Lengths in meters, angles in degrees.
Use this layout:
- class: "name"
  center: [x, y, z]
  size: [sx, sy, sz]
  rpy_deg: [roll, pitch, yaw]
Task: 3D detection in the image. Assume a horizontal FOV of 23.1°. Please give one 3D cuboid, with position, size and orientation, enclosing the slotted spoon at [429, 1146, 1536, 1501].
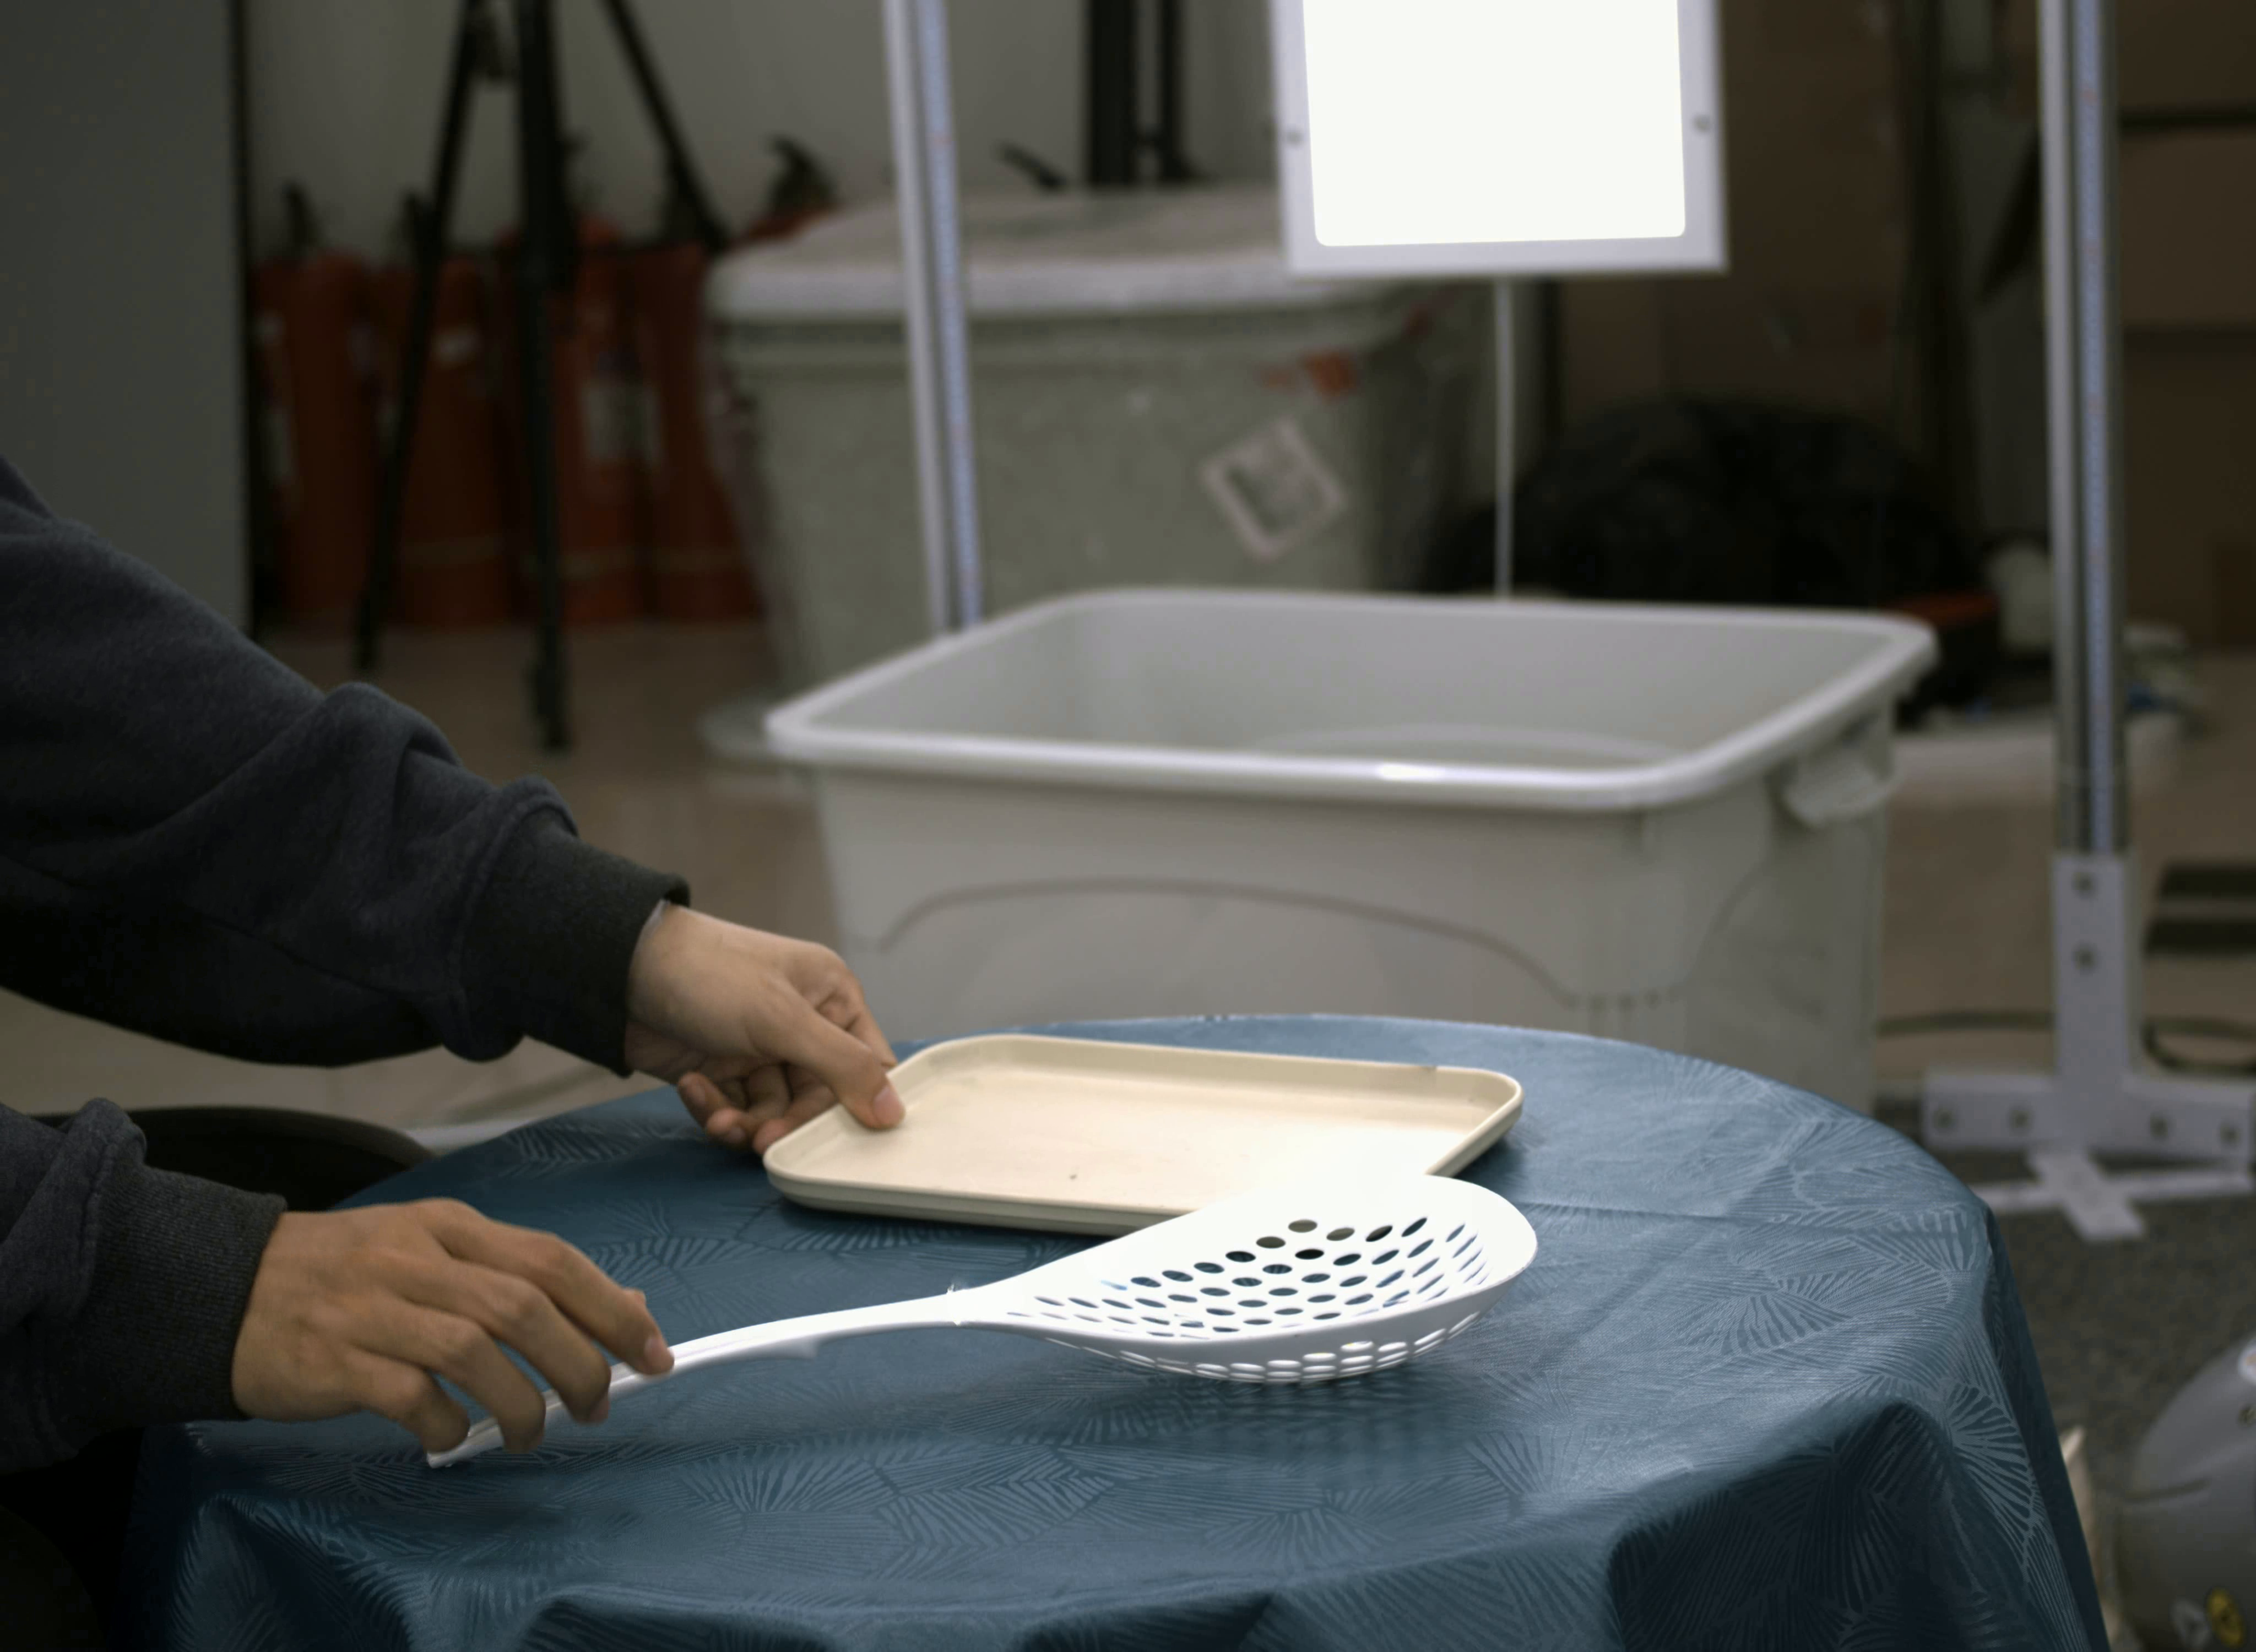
- class: "slotted spoon"
  center: [-0.045, 0.159, 1.698]
  size: [0.345, 0.050, 0.137]
  rpy_deg: [-7, 17, -4]

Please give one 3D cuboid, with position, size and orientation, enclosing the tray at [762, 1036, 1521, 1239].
- class: "tray"
  center: [0.006, 0.110, 1.921]
  size: [0.244, 0.017, 0.167]
  rpy_deg: [3, 17, 27]
